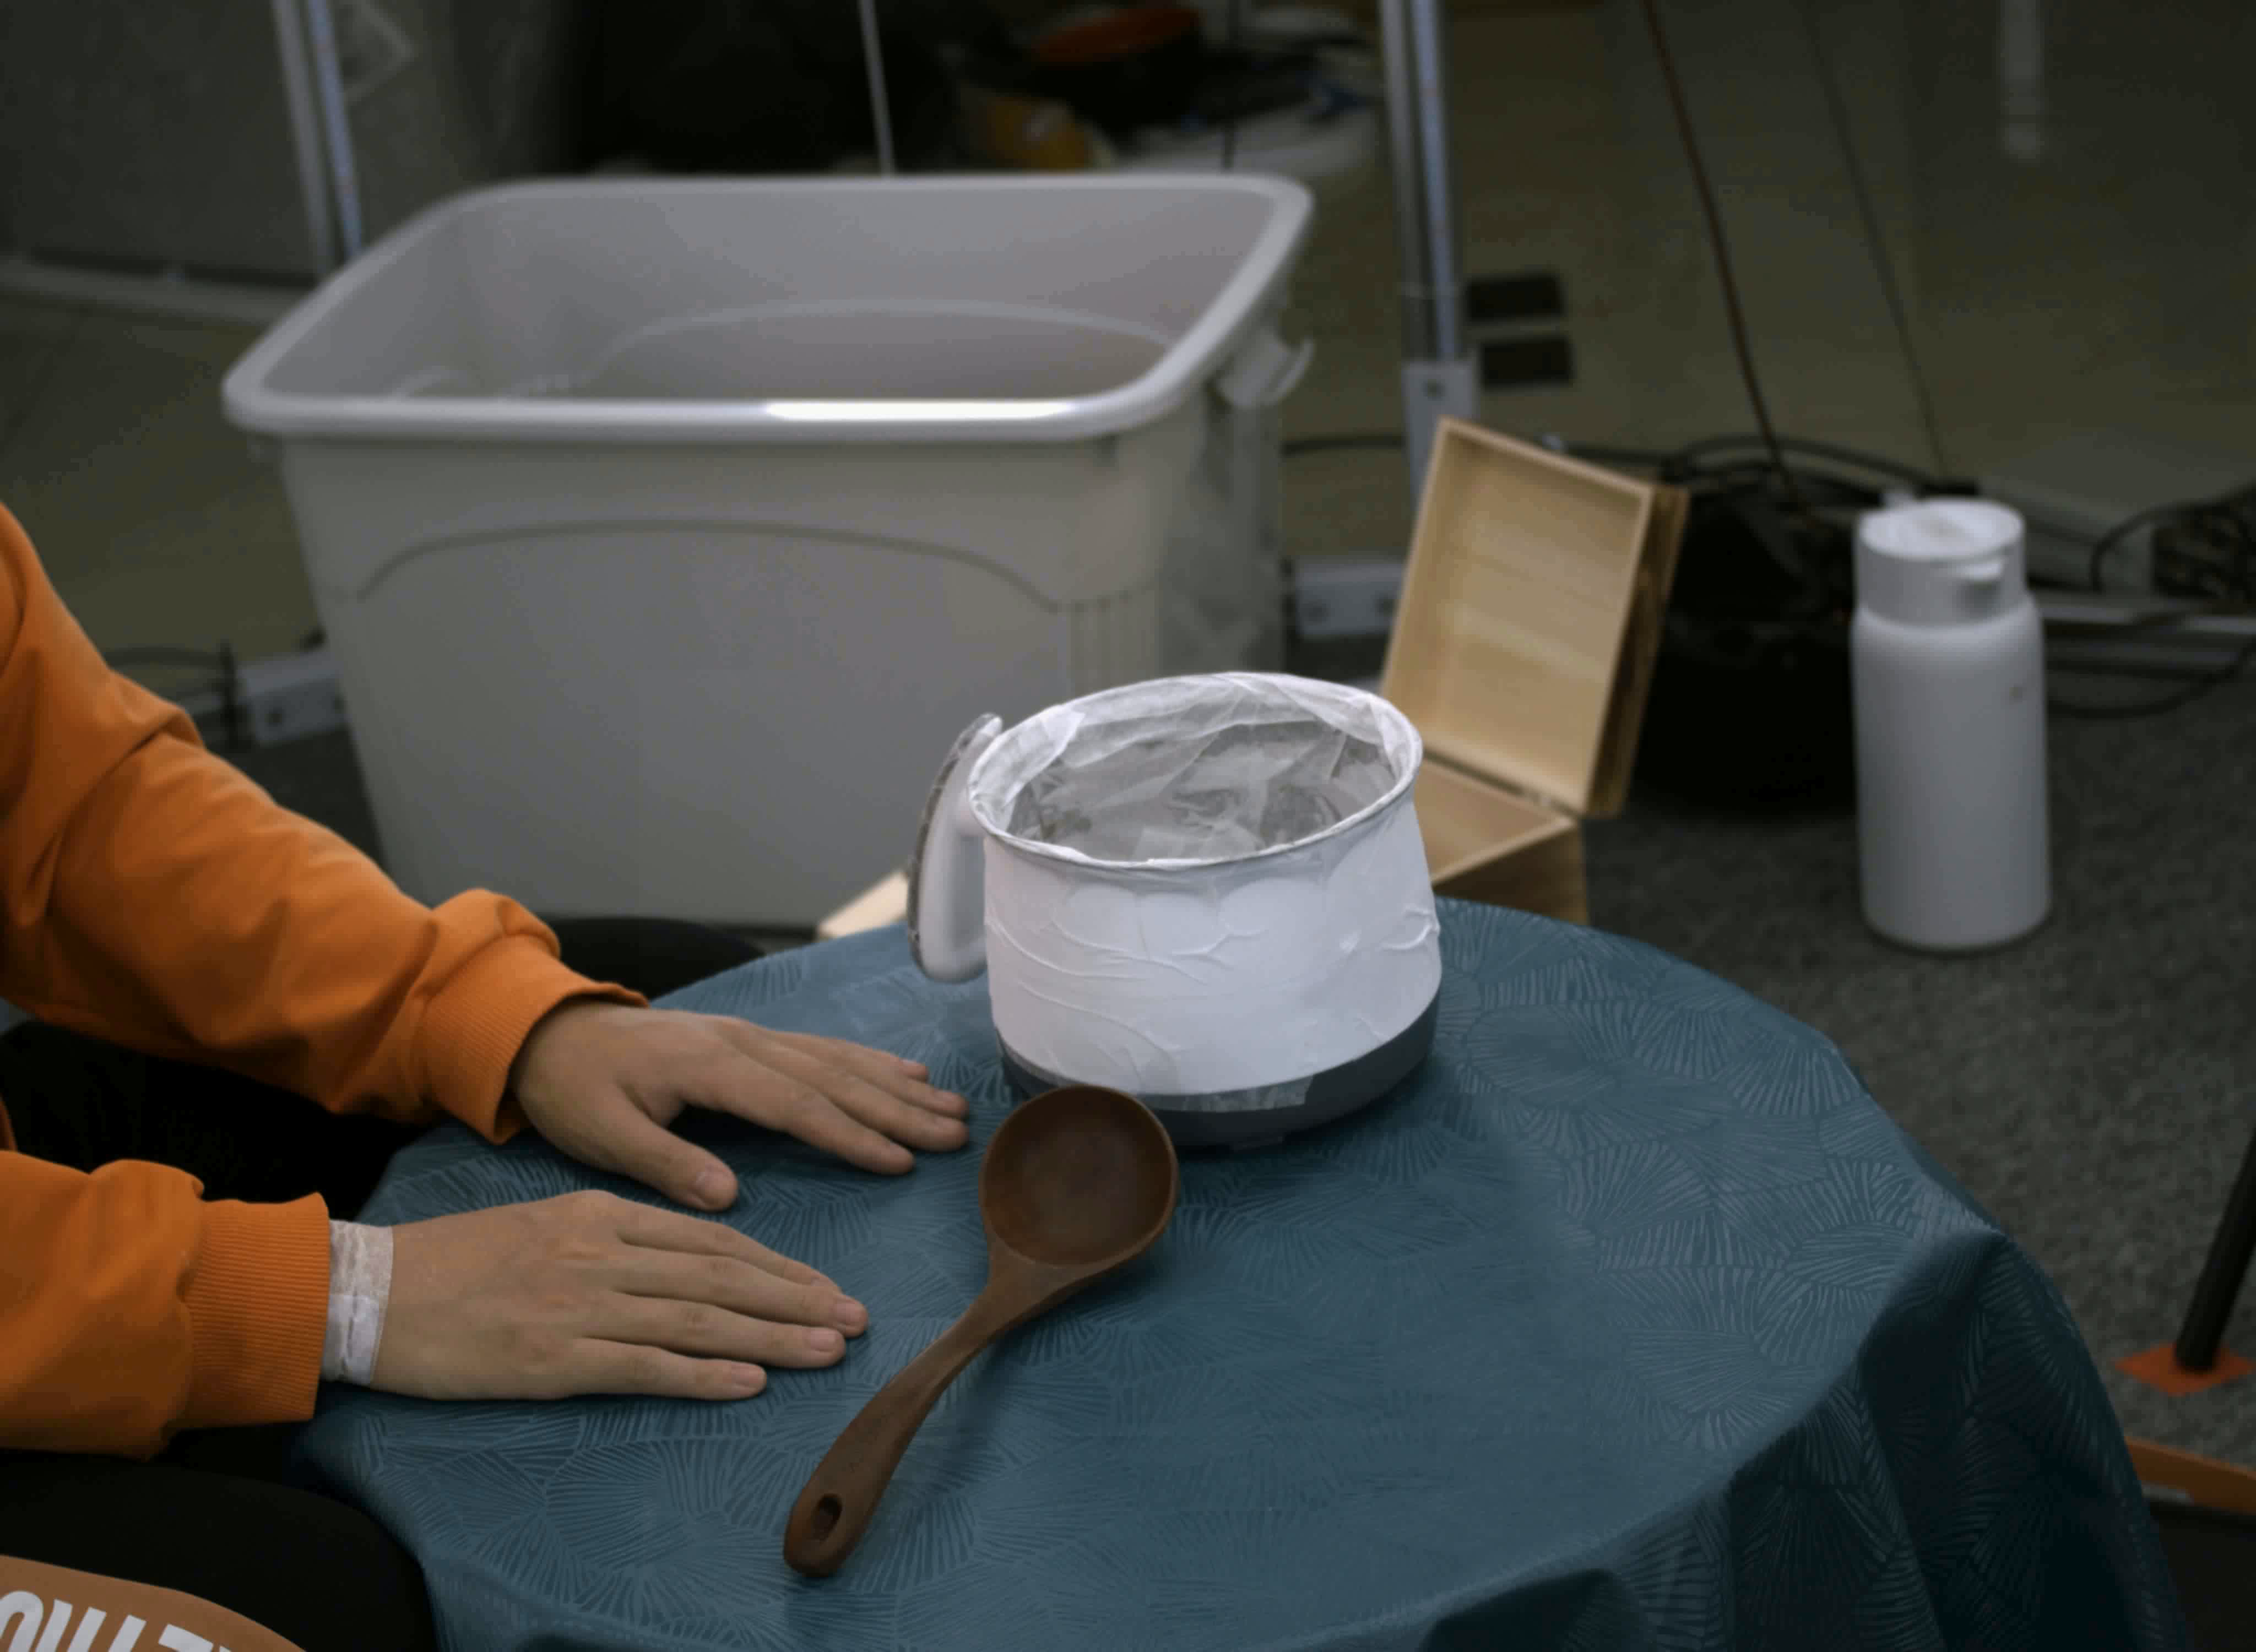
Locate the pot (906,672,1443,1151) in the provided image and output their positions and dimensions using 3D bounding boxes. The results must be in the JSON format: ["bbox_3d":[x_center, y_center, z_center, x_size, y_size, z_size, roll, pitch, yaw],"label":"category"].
[{"bbox_3d":[0.009,0.030,2.214,0.232,0.139,0.177,11,30,32],"label":"pot"}]

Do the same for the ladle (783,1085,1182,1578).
[{"bbox_3d":[-0.057,0.174,2.010,0.076,0.066,0.257,13,30,21],"label":"ladle"}]
